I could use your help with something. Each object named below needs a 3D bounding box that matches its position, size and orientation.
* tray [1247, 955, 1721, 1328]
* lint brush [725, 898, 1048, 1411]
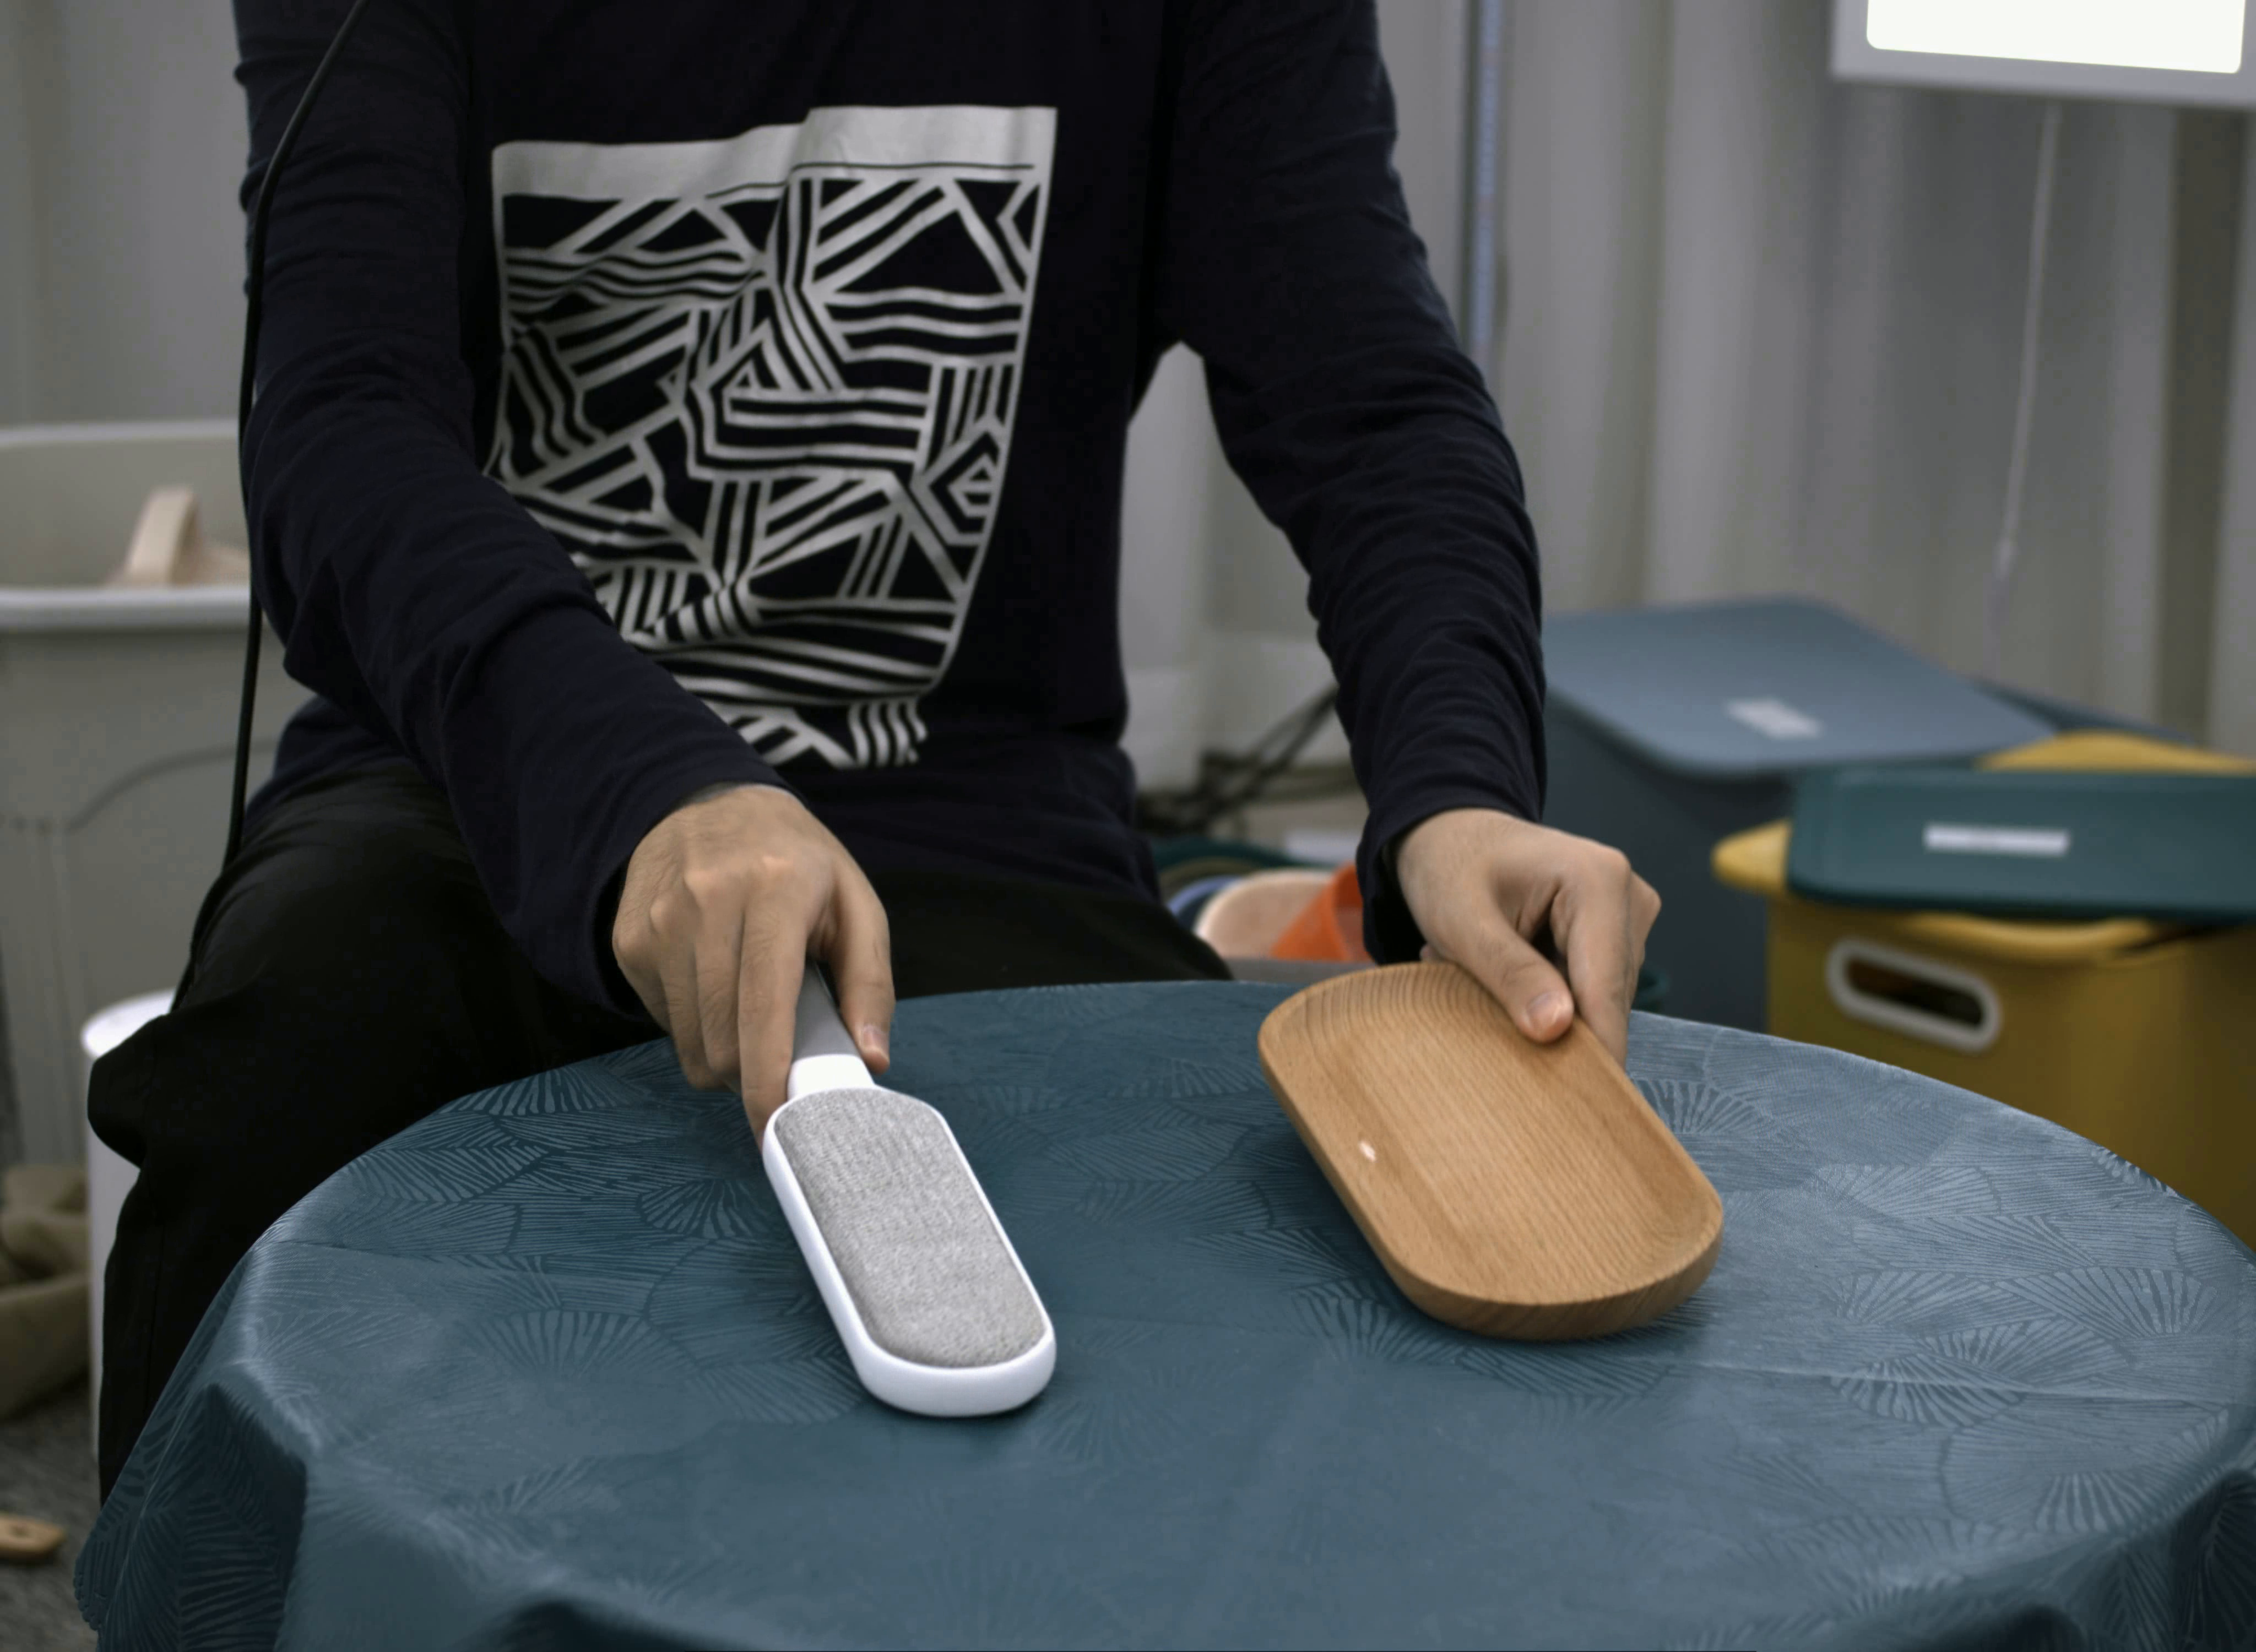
[{"bbox_3d":[0.106,0.093,1.601,0.102,0.020,0.228,-9,23,-13],"label":"tray"},{"bbox_3d":[-0.080,0.091,1.567,0.060,0.021,0.305,-10,27,-11],"label":"lint brush"}]
